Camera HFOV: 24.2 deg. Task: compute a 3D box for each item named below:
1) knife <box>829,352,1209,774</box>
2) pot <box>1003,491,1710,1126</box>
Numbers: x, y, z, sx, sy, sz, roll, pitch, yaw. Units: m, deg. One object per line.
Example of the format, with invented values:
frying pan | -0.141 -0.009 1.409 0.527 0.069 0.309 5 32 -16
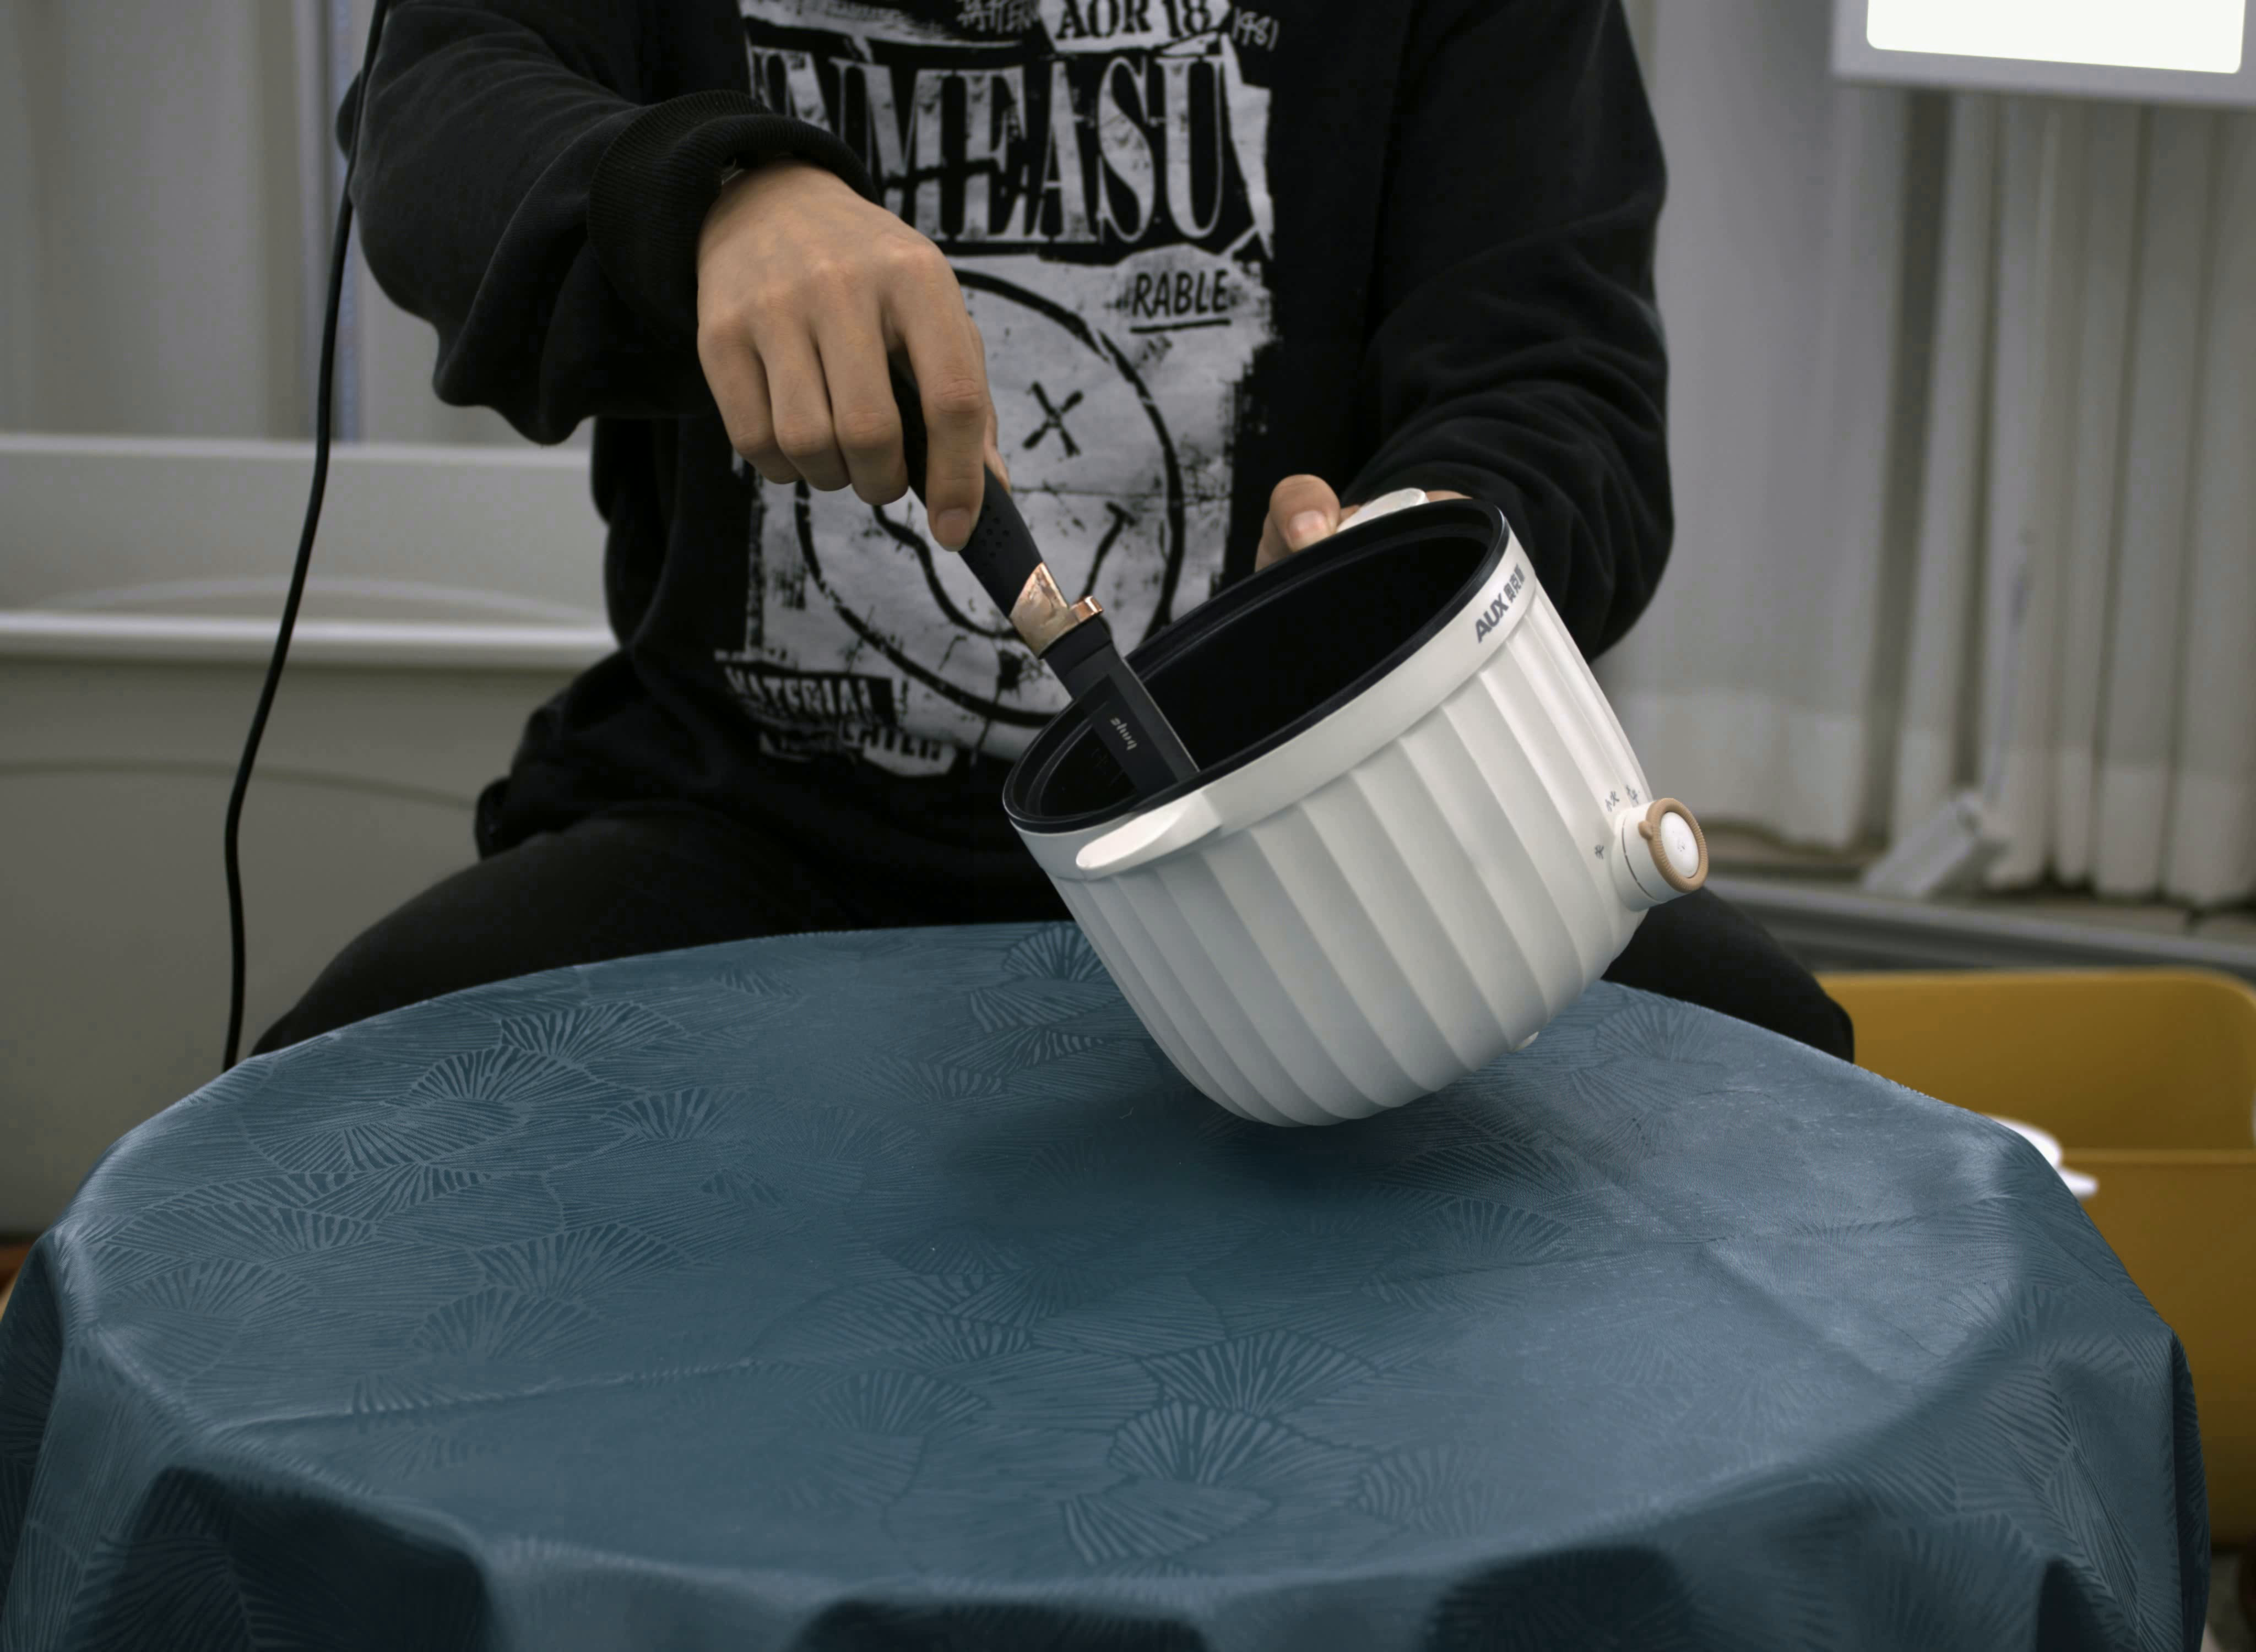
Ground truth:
knife | -0.017 -0.057 1.619 0.026 0.225 0.017 -38 -1 -9
pot | 0.077 -0.001 1.656 0.189 0.144 0.240 -25 18 35
